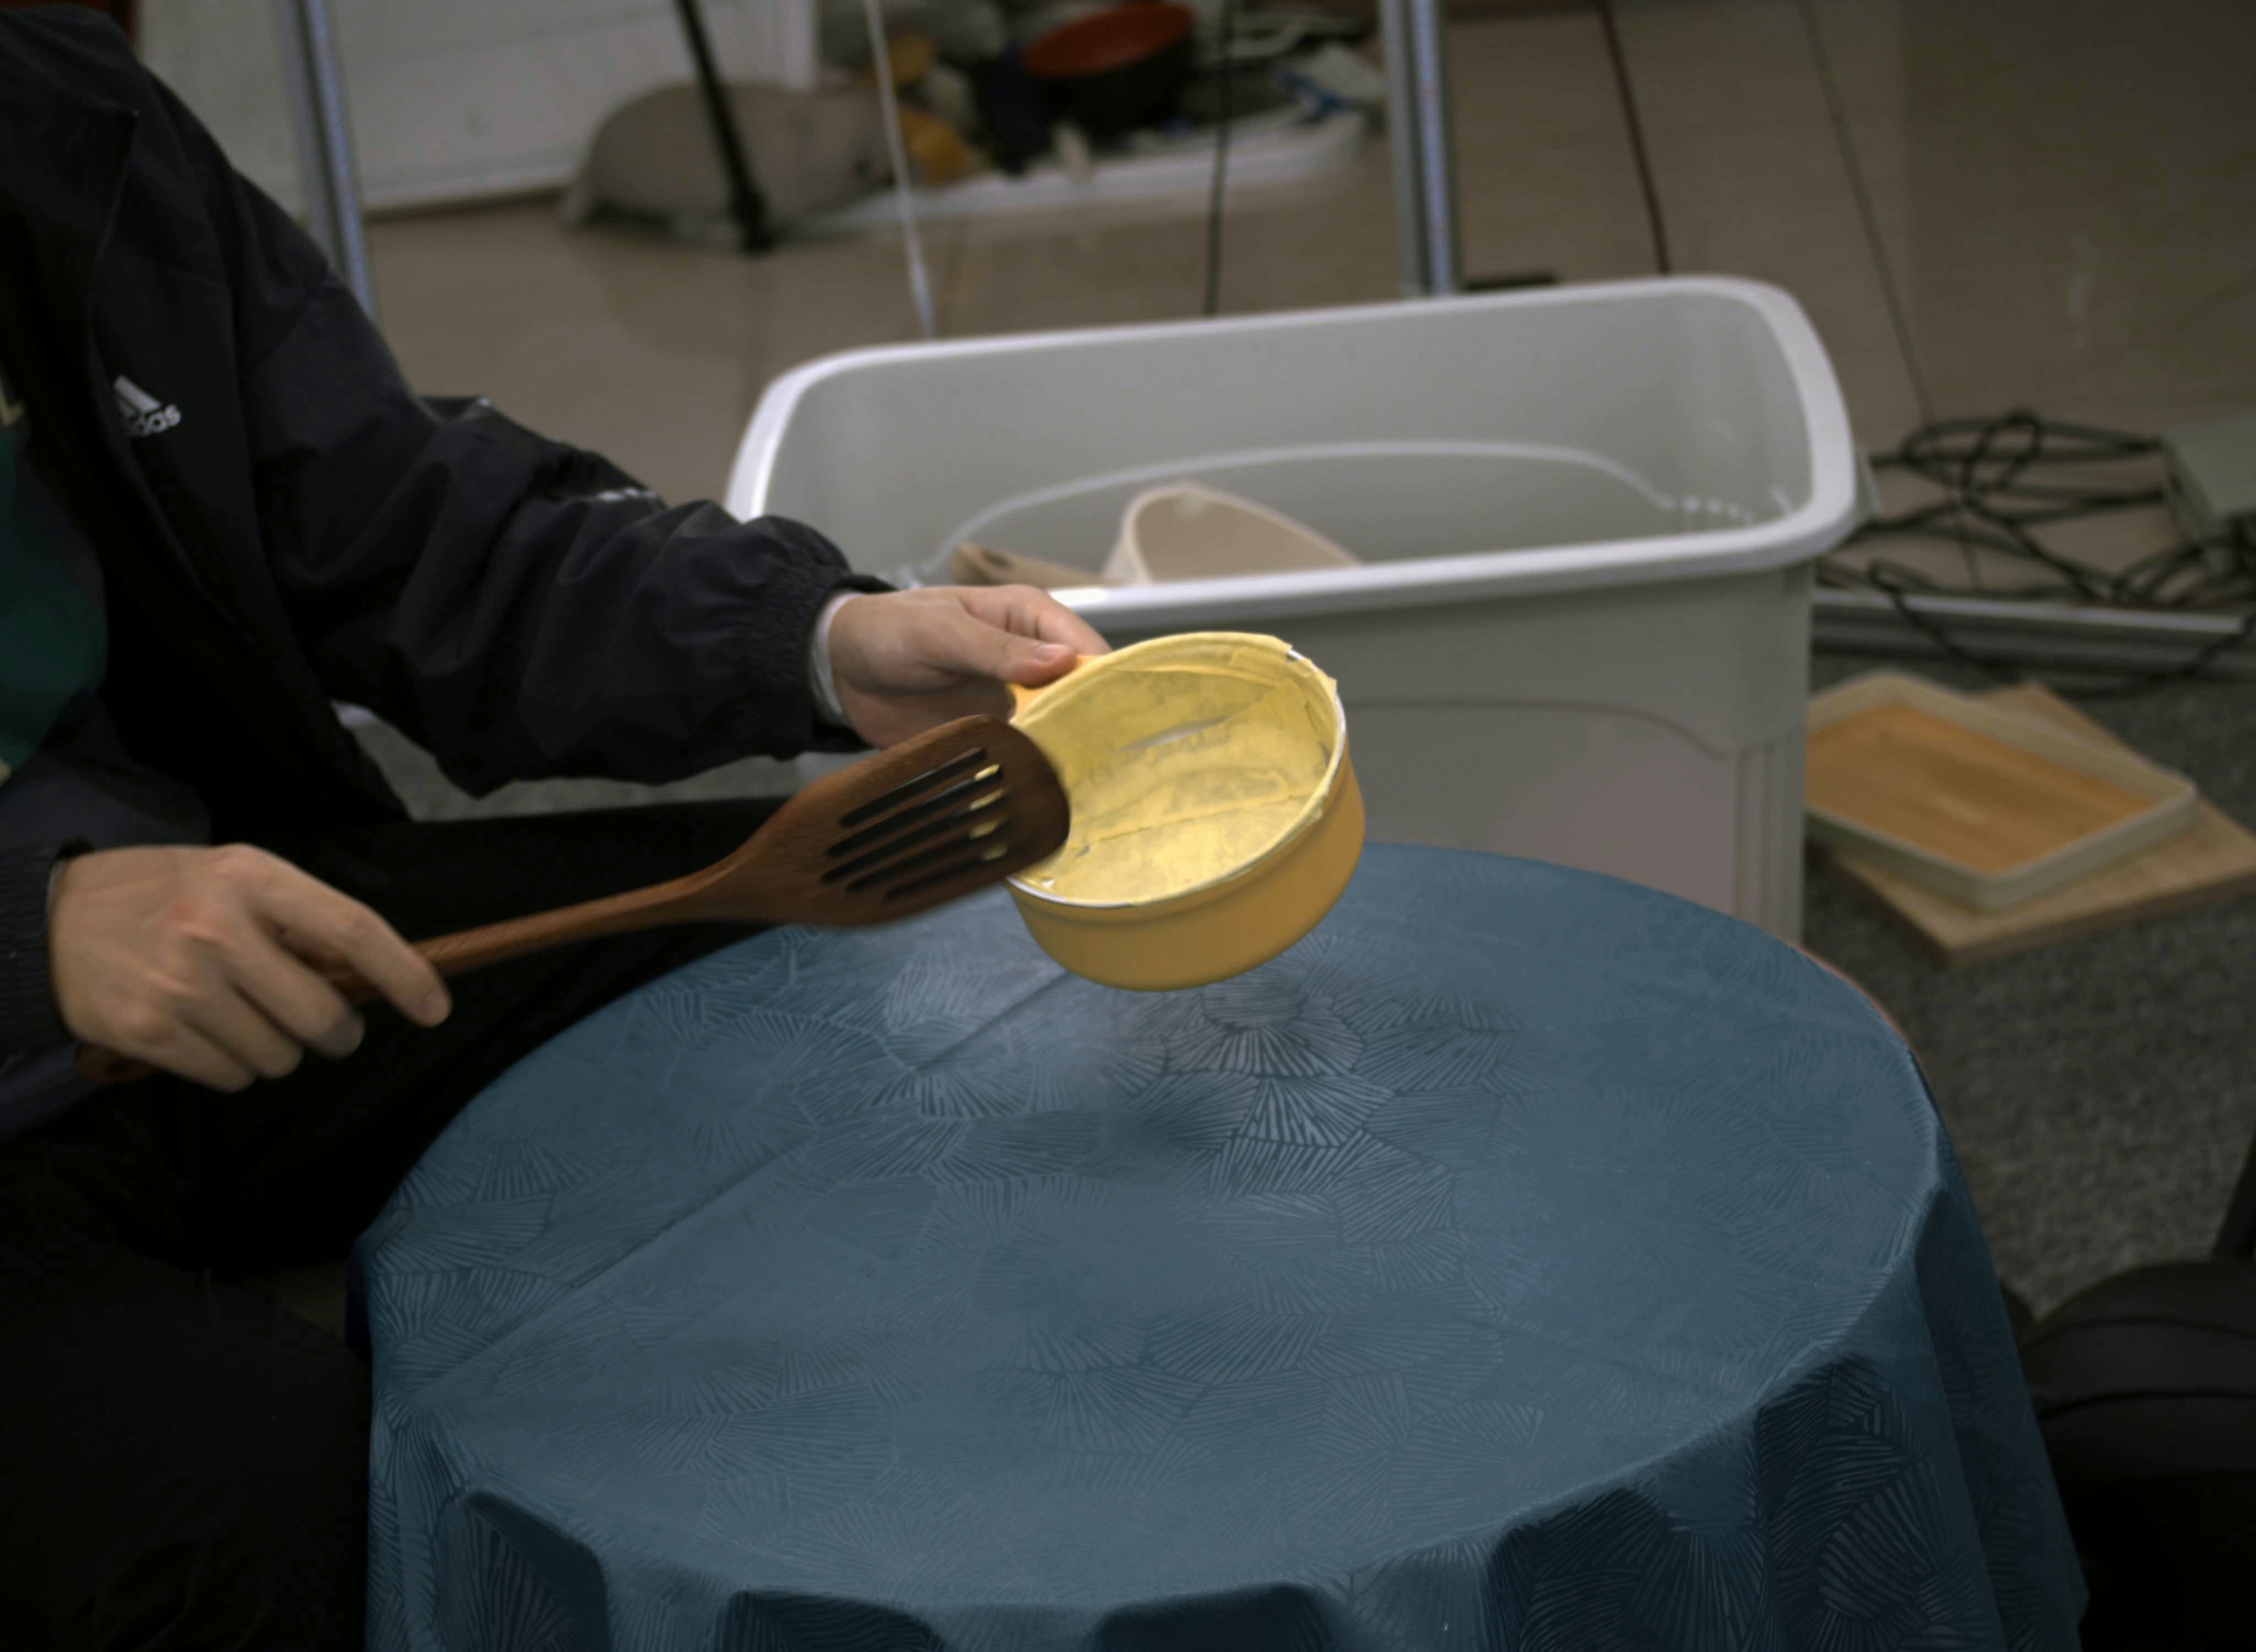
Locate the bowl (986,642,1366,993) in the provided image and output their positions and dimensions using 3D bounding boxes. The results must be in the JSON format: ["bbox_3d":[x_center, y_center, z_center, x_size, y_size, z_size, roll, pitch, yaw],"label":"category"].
[{"bbox_3d":[0.014,-0.006,2.227,0.152,0.075,0.177,-37,44,-16],"label":"bowl"}]

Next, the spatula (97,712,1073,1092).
[{"bbox_3d":[-0.204,0.037,2.061,0.387,0.087,0.023,-17,55,15],"label":"spatula"}]
